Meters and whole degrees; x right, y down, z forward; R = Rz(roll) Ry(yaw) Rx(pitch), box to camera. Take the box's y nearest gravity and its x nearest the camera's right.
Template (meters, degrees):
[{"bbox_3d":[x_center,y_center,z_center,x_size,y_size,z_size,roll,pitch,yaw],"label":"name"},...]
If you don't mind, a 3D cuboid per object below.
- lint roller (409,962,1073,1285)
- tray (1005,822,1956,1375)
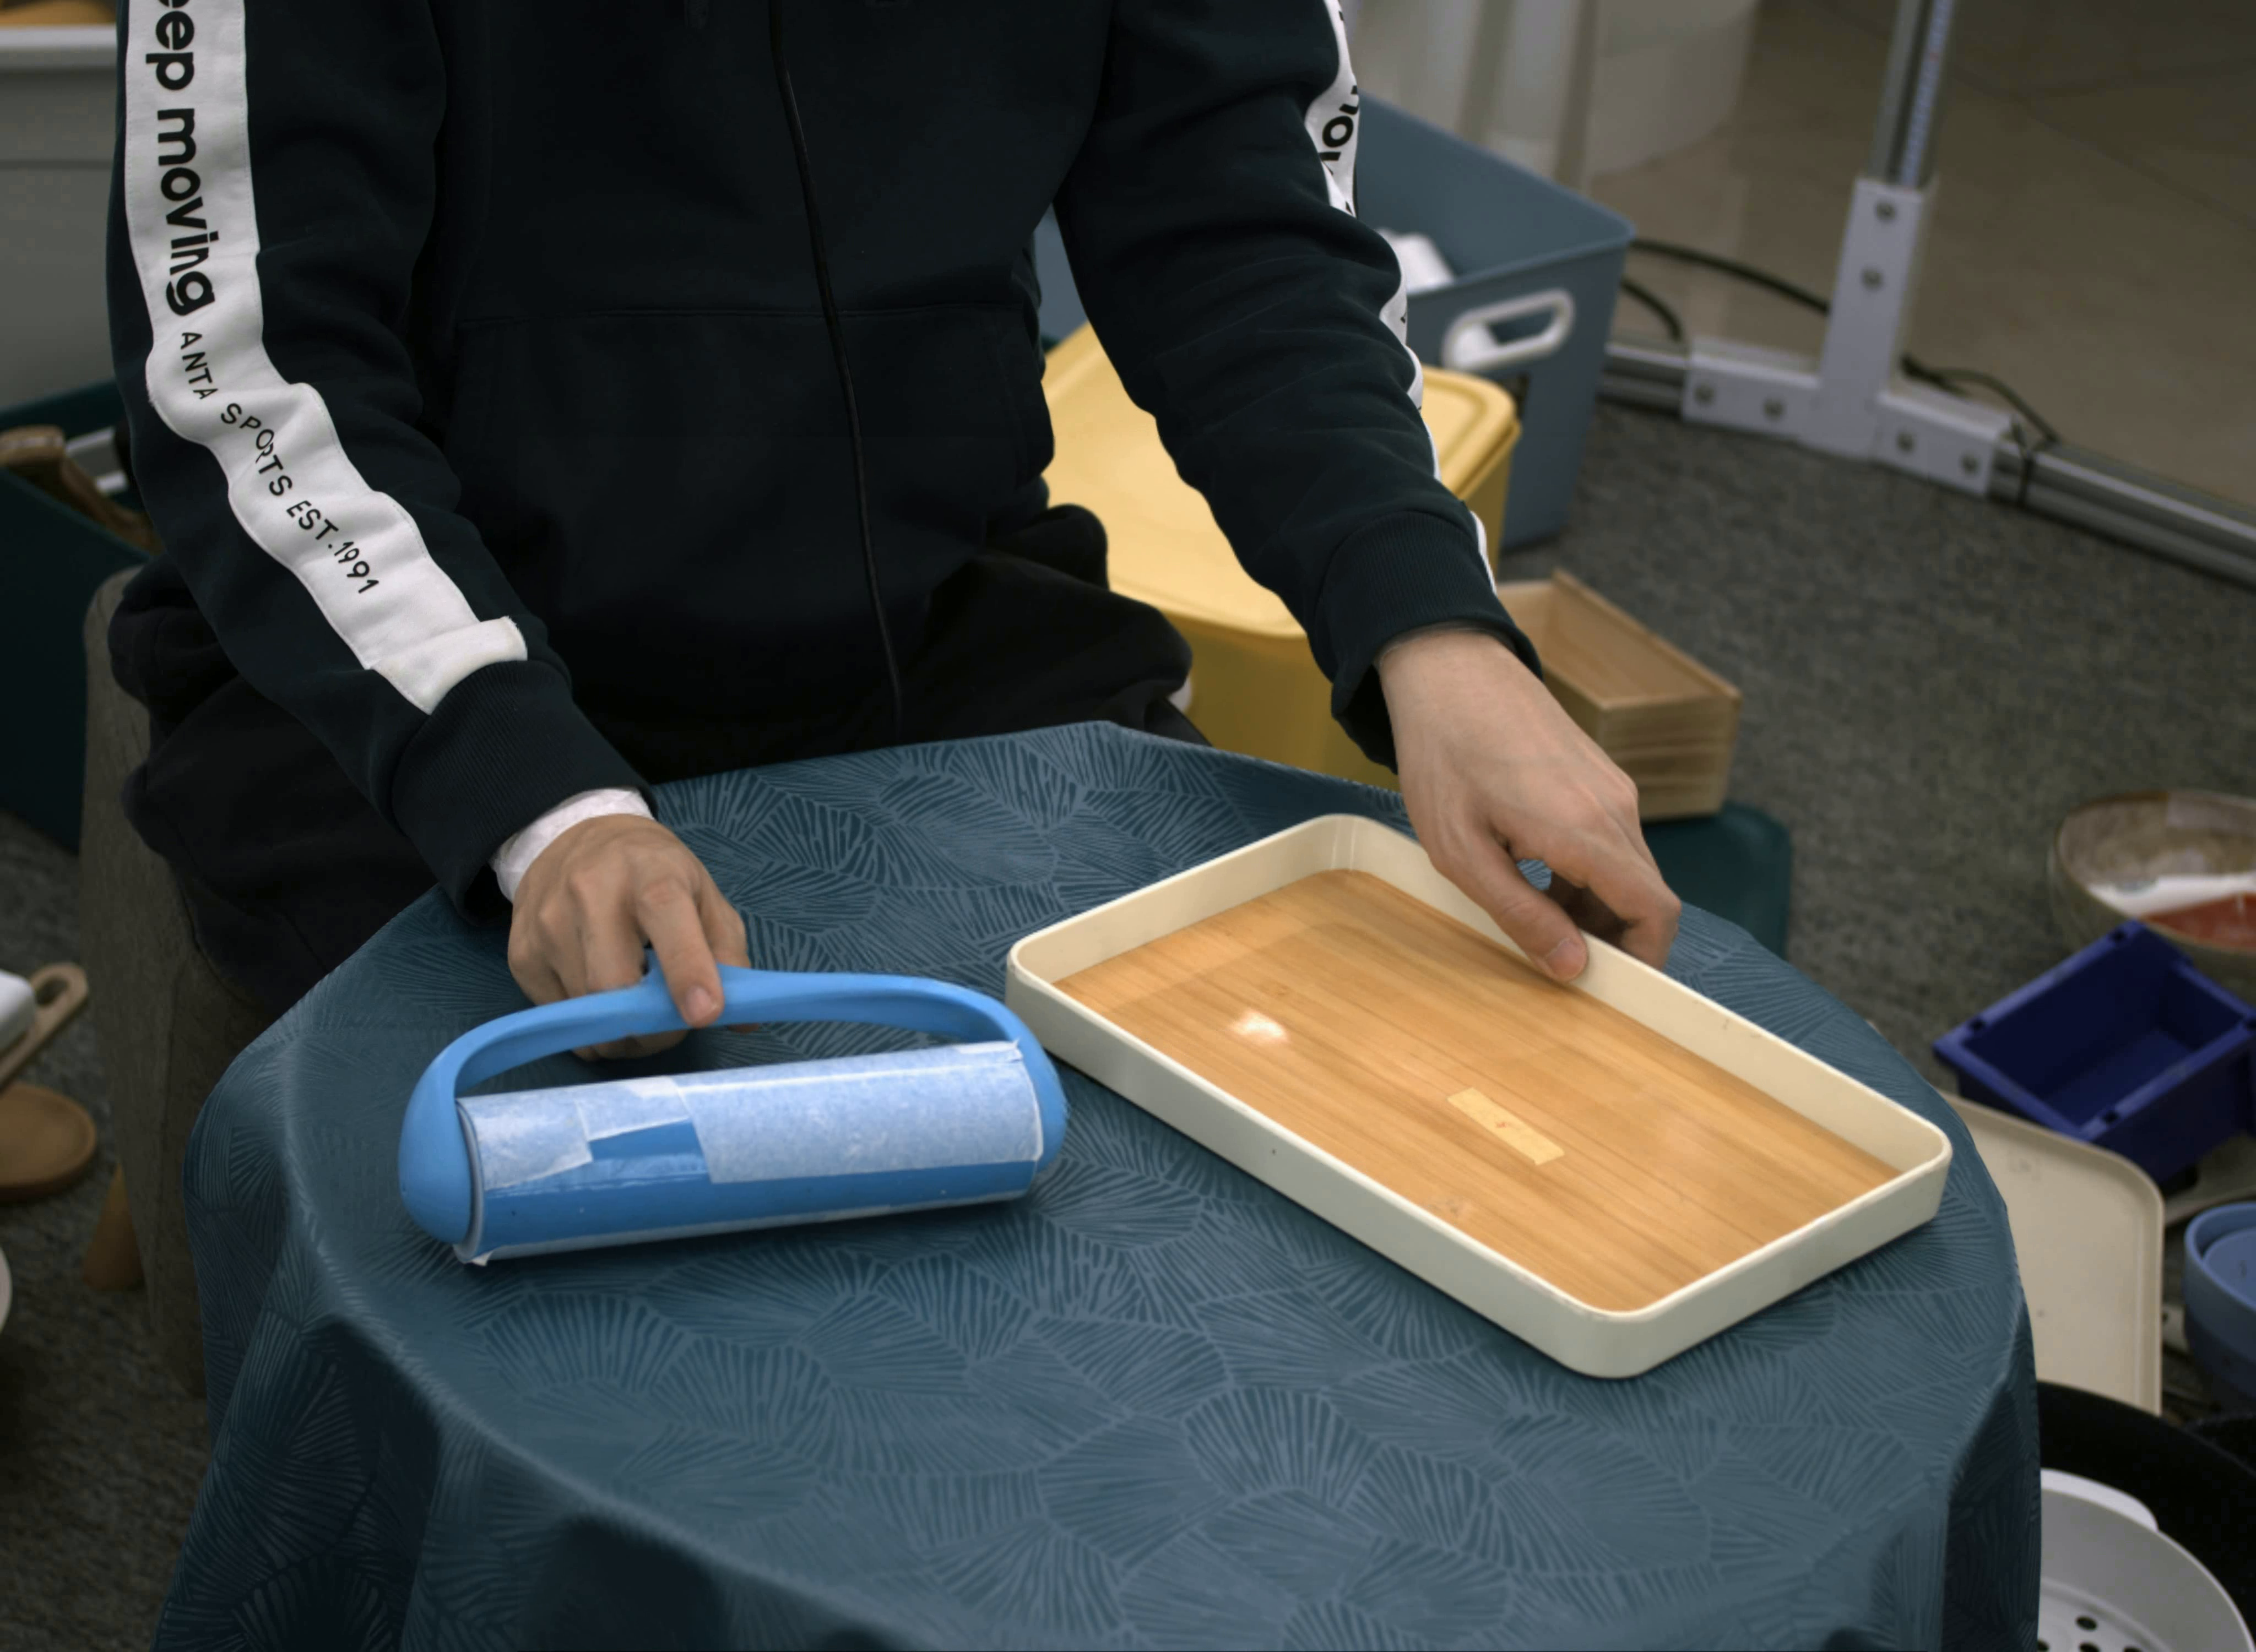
[{"bbox_3d":[-0.150,0.081,1.789,0.227,0.067,0.182,-10,32,-24],"label":"lint roller"},{"bbox_3d":[0.120,0.089,1.859,0.190,0.027,0.302,-20,37,-40],"label":"tray"}]
